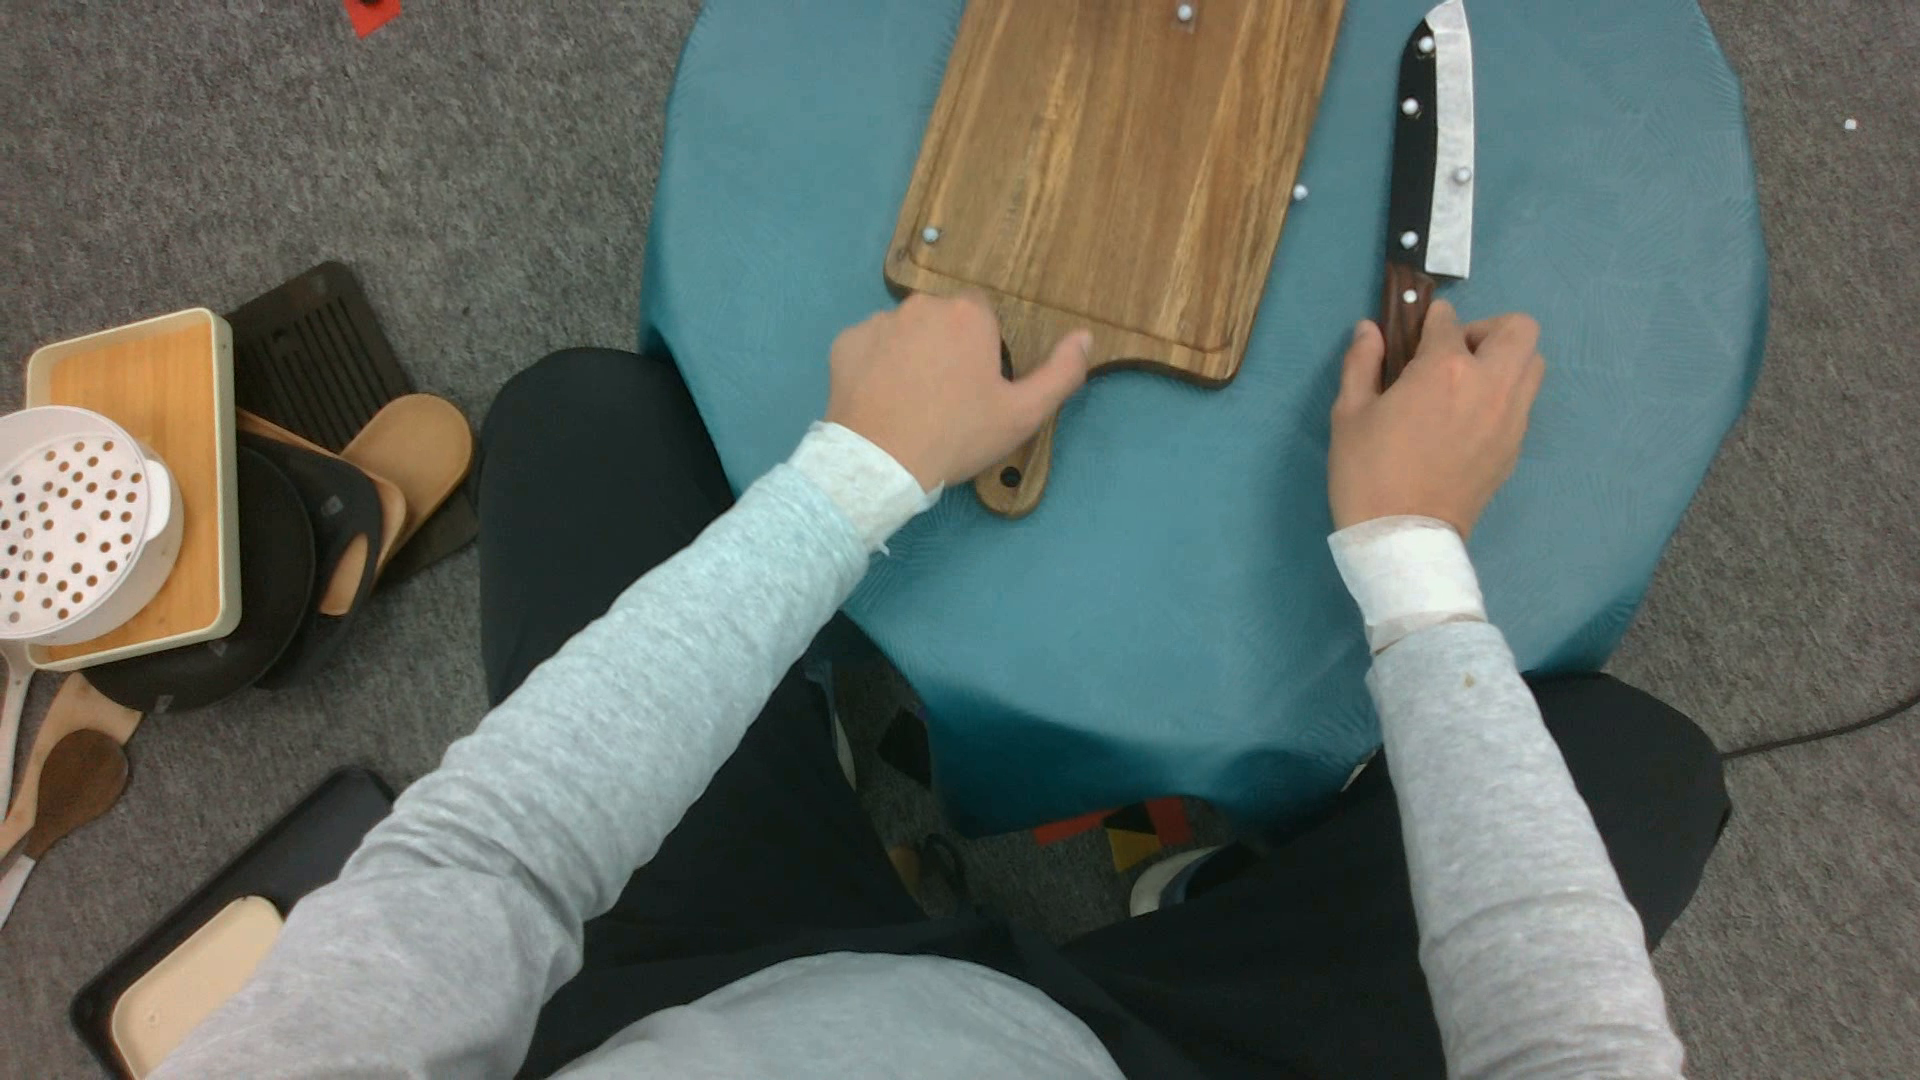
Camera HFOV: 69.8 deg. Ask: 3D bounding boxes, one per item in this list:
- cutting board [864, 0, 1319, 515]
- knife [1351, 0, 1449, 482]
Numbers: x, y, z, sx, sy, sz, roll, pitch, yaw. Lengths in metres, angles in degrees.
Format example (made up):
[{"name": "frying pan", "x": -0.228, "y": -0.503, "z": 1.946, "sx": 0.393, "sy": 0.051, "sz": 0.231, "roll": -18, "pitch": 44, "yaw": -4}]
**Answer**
[{"name": "cutting board", "x": 0.062, "y": -0.182, "z": 0.739, "sx": 0.201, "sy": 0.023, "sz": 0.353, "roll": 16, "pitch": 80, "yaw": 3}, {"name": "knife", "x": 0.239, "y": -0.169, "z": 0.742, "sx": 0.050, "sy": 0.020, "sz": 0.289, "roll": 9, "pitch": 77, "yaw": 0}]
